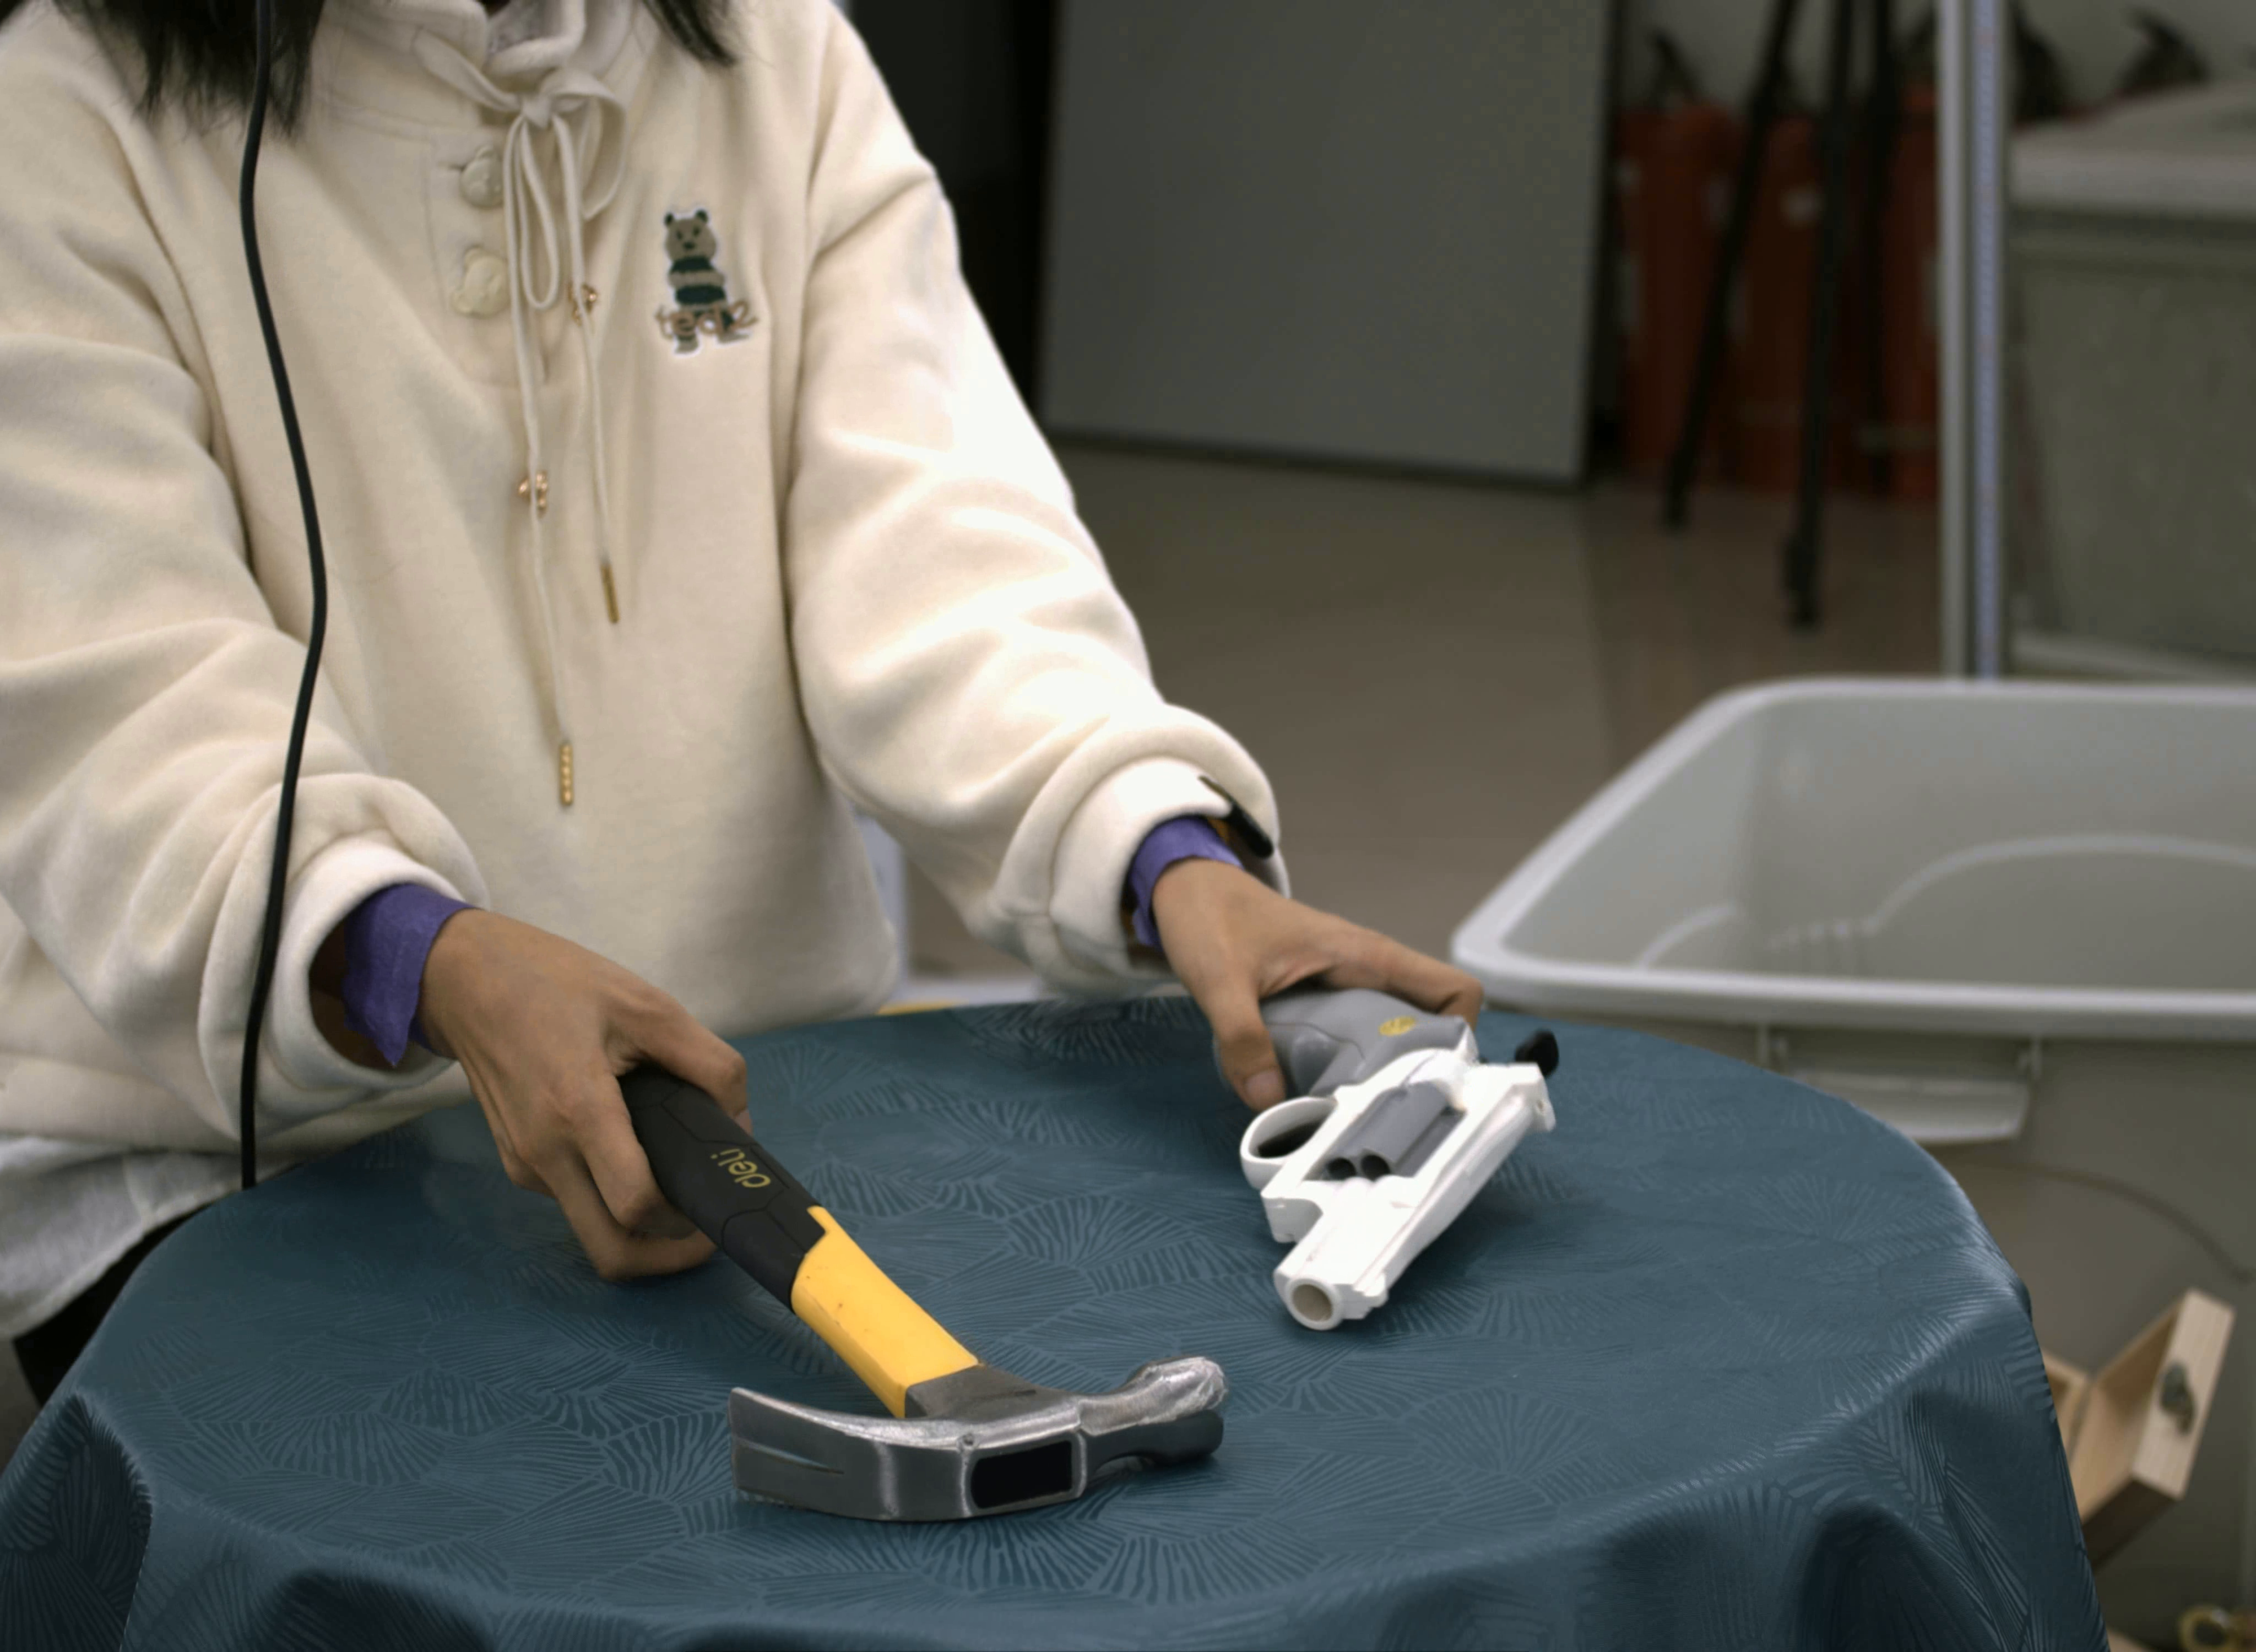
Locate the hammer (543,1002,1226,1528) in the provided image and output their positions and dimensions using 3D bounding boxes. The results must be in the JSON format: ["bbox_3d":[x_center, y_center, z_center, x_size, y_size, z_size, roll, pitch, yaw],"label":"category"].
[{"bbox_3d":[-0.102,0.124,1.633,0.129,0.032,0.342,-13,25,-22],"label":"hammer"}]

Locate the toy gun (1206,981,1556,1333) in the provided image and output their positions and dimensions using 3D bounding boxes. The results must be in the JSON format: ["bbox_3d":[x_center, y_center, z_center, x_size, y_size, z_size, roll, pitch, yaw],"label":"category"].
[{"bbox_3d":[0.063,0.102,1.723,0.142,0.039,0.207,-3,23,30],"label":"toy gun"}]
